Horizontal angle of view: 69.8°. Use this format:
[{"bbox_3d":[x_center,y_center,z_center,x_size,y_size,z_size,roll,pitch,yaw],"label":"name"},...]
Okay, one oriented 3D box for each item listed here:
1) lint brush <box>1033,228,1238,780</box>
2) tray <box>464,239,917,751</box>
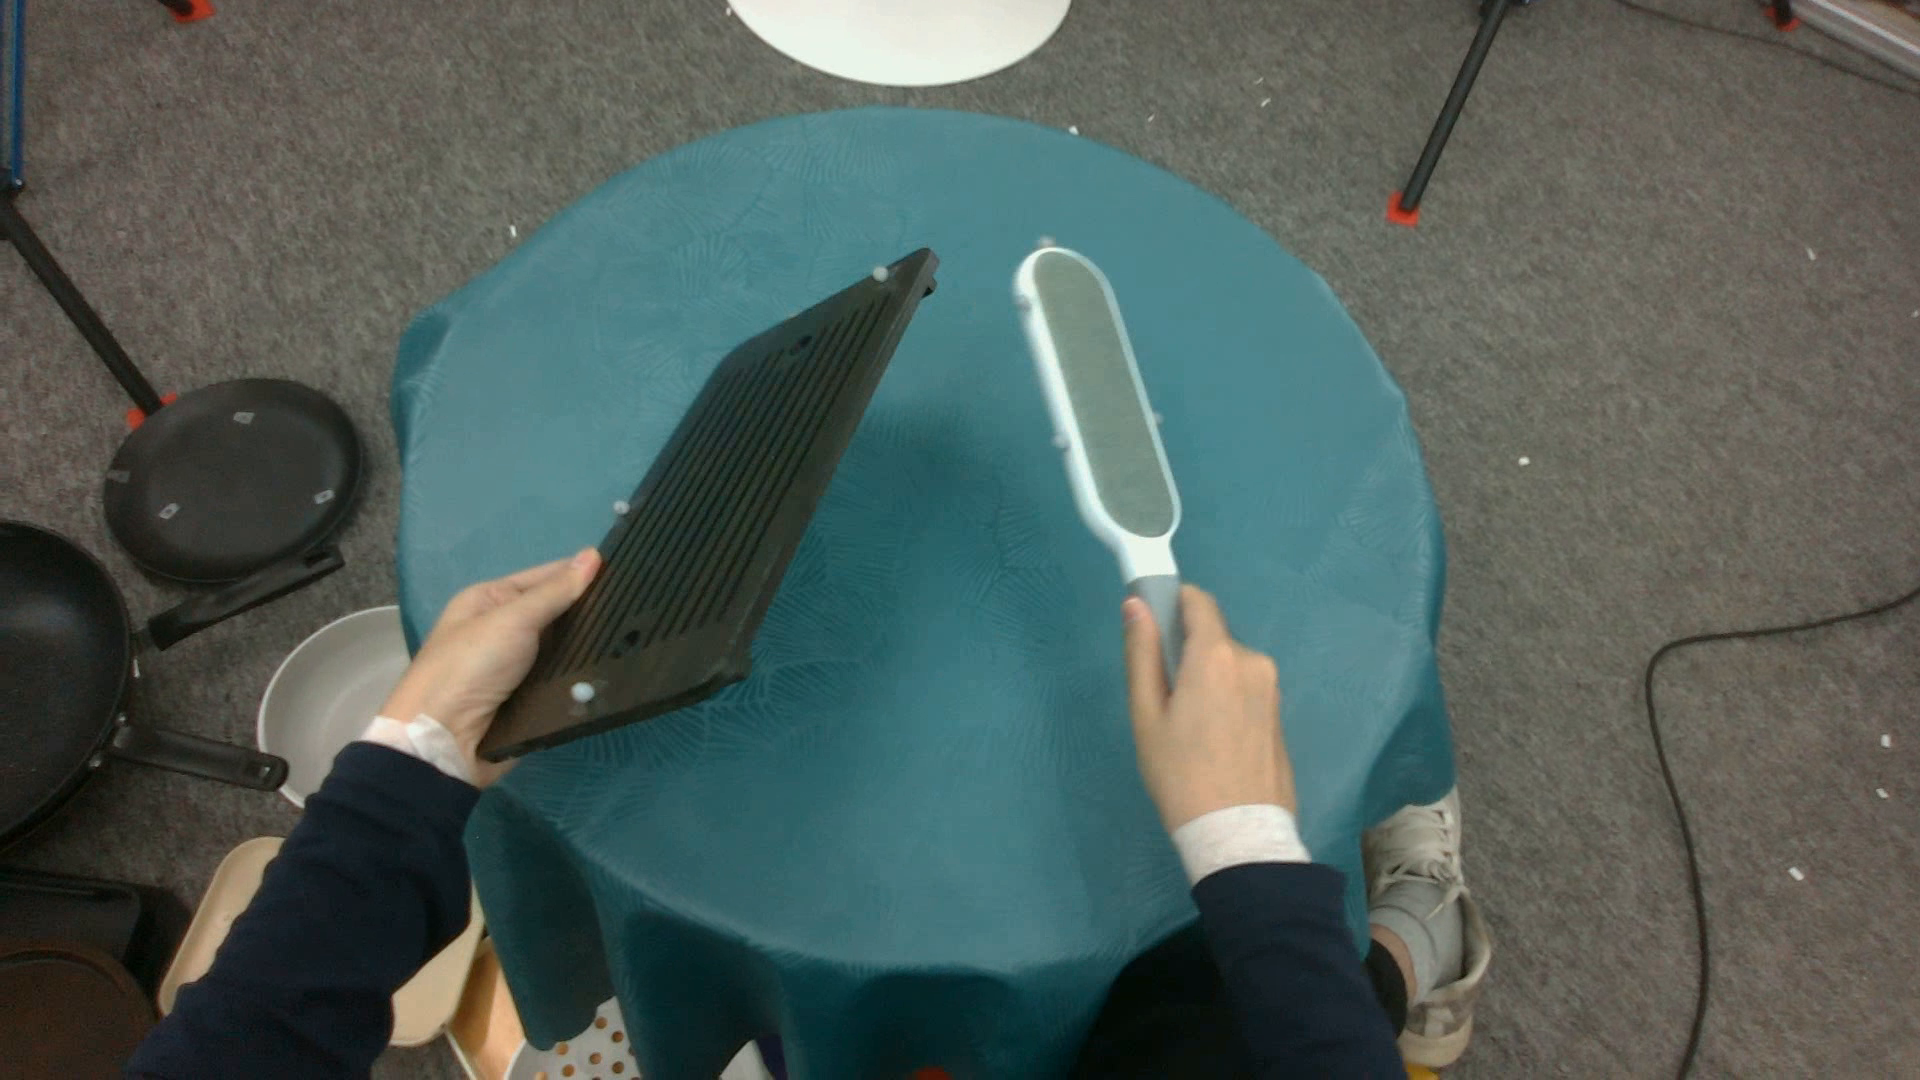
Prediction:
[{"bbox_3d":[0.089,-0.029,0.699,0.060,0.021,0.310,5,62,-36],"label":"lint brush"},{"bbox_3d":[-0.121,-0.031,0.677,0.169,0.018,0.307,-17,38,32],"label":"tray"}]
